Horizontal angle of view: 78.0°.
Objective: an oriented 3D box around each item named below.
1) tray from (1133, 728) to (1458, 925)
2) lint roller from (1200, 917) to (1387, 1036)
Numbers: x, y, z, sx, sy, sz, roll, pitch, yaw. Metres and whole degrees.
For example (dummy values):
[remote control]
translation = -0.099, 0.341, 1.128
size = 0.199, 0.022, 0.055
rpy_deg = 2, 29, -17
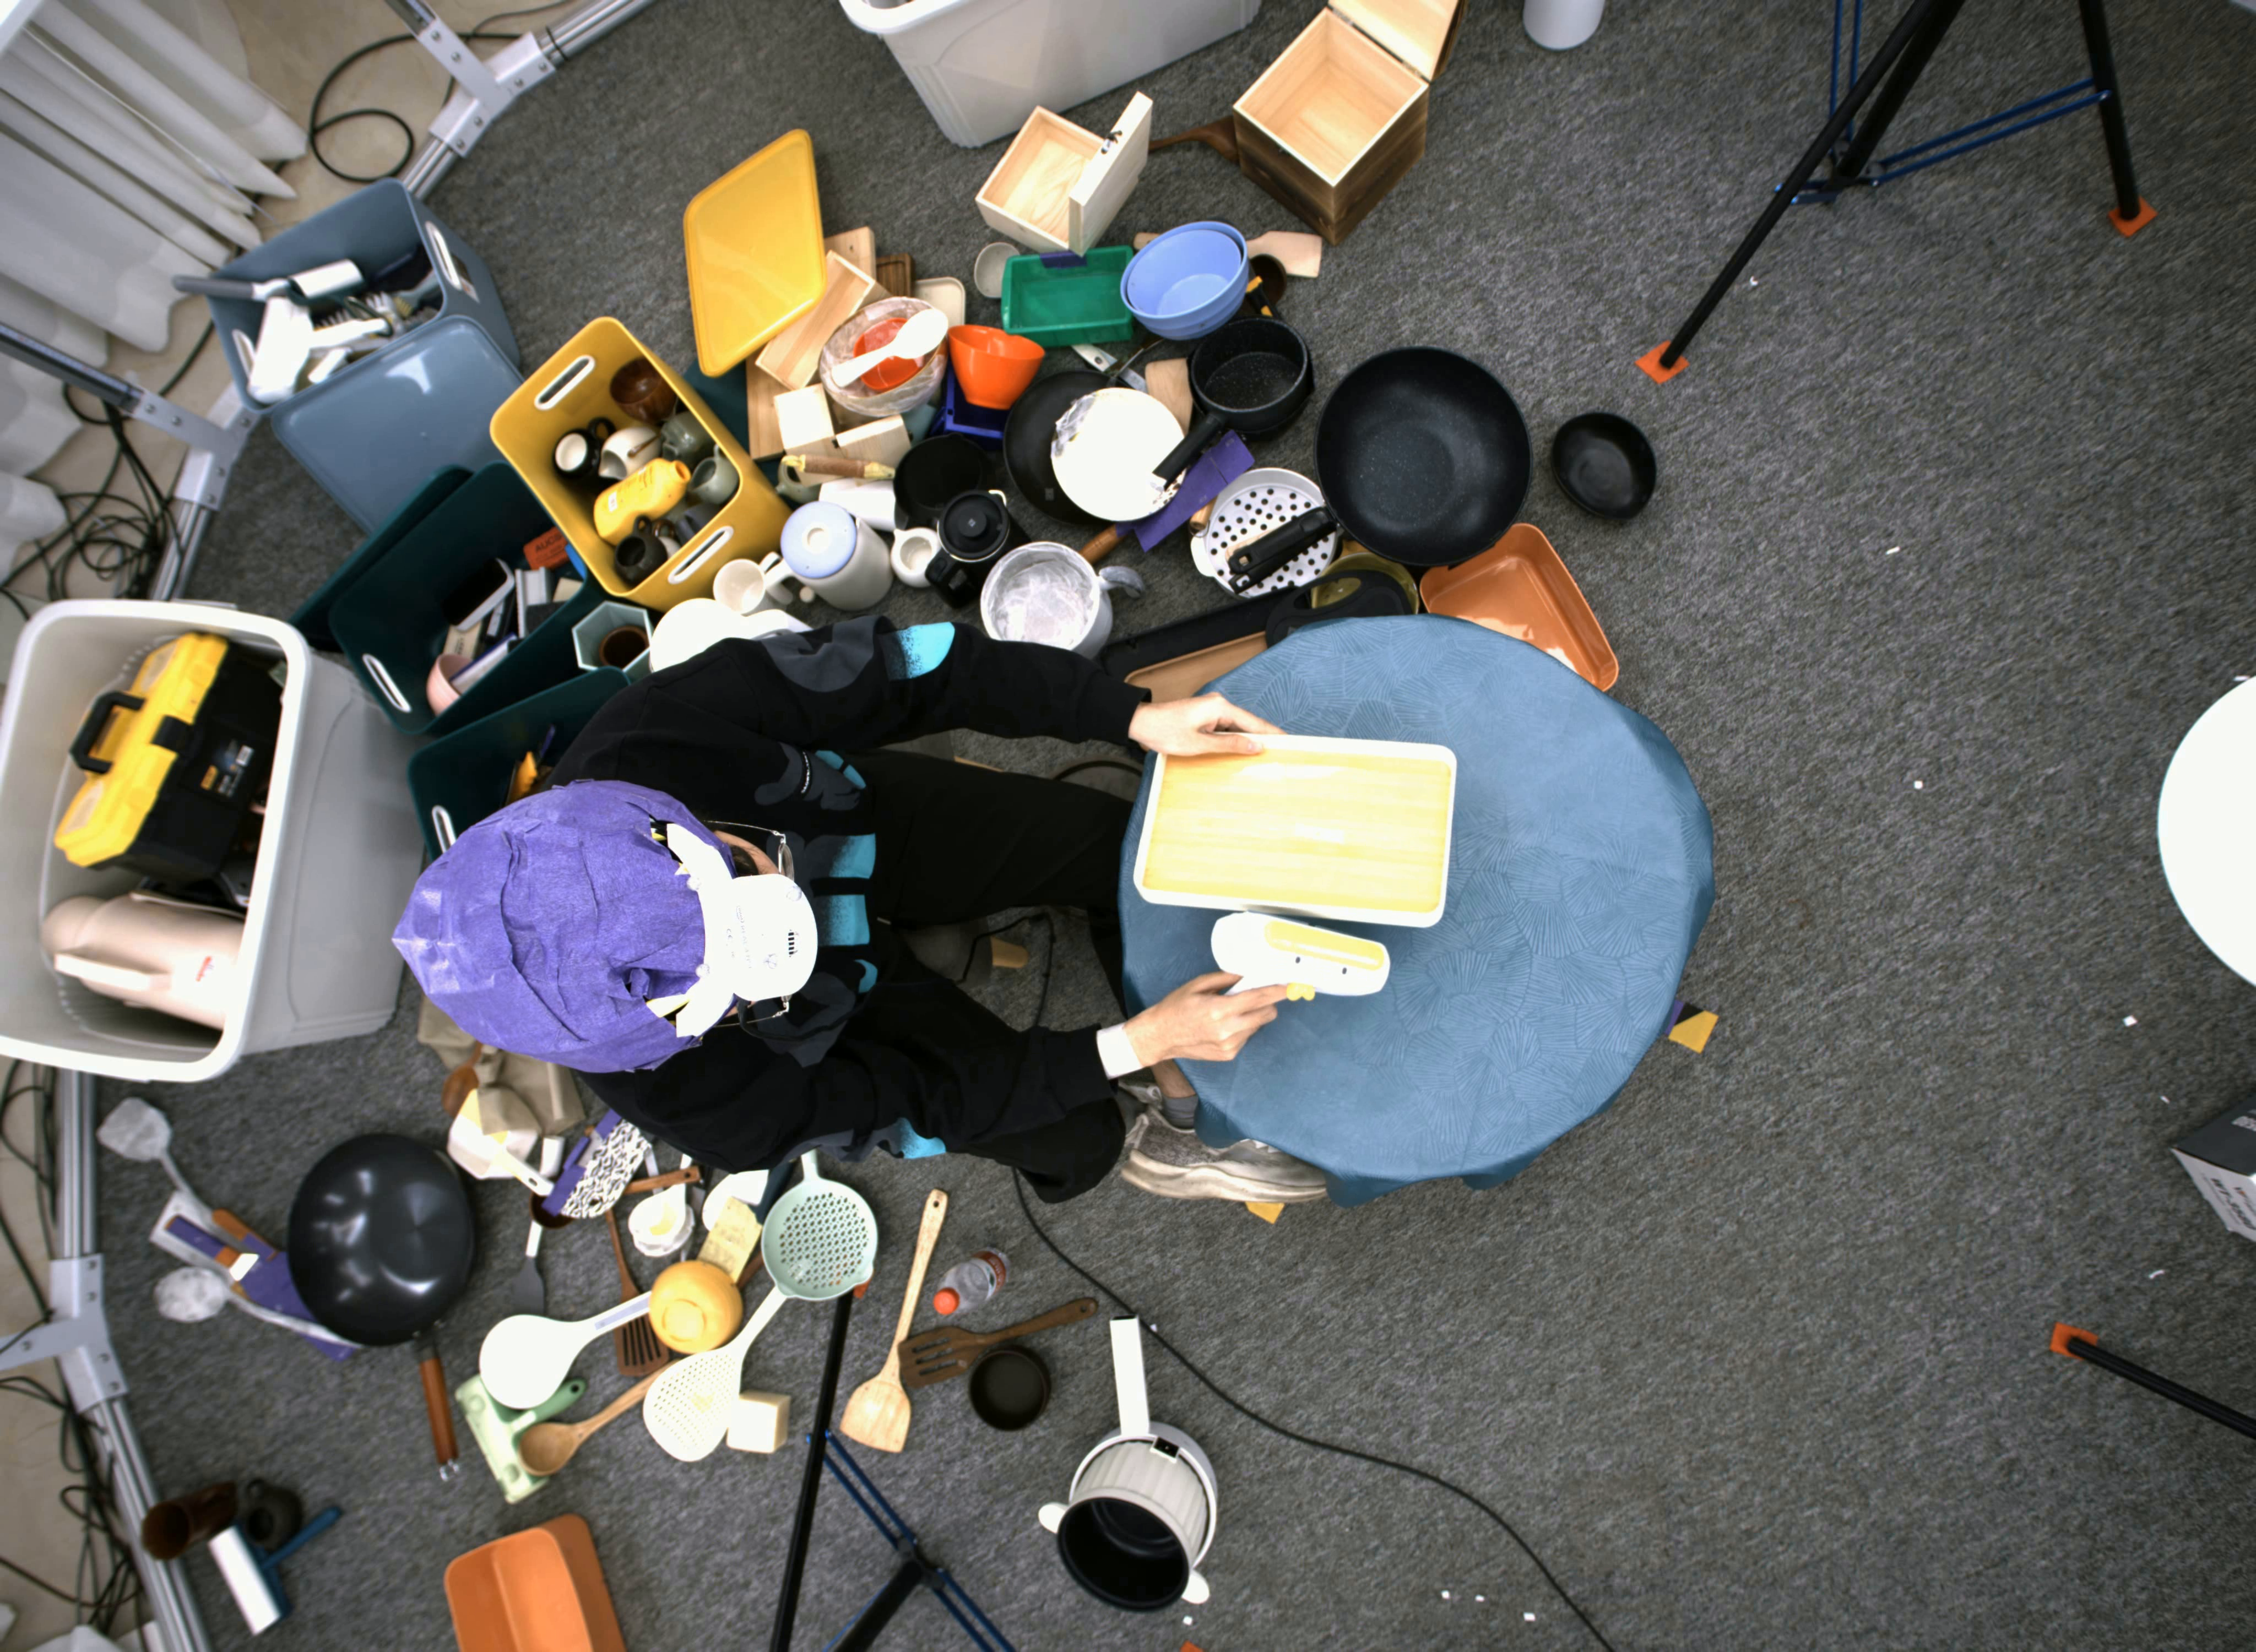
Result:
[tray]
translation = 0.165, -0.004, 1.356
size = 0.301, 0.028, 0.187
rpy_deg = 5, 64, 14
[lint roller]
translation = 0.130, 0.152, 1.349
size = 0.192, 0.196, 0.073
rpy_deg = 7, 65, -29
